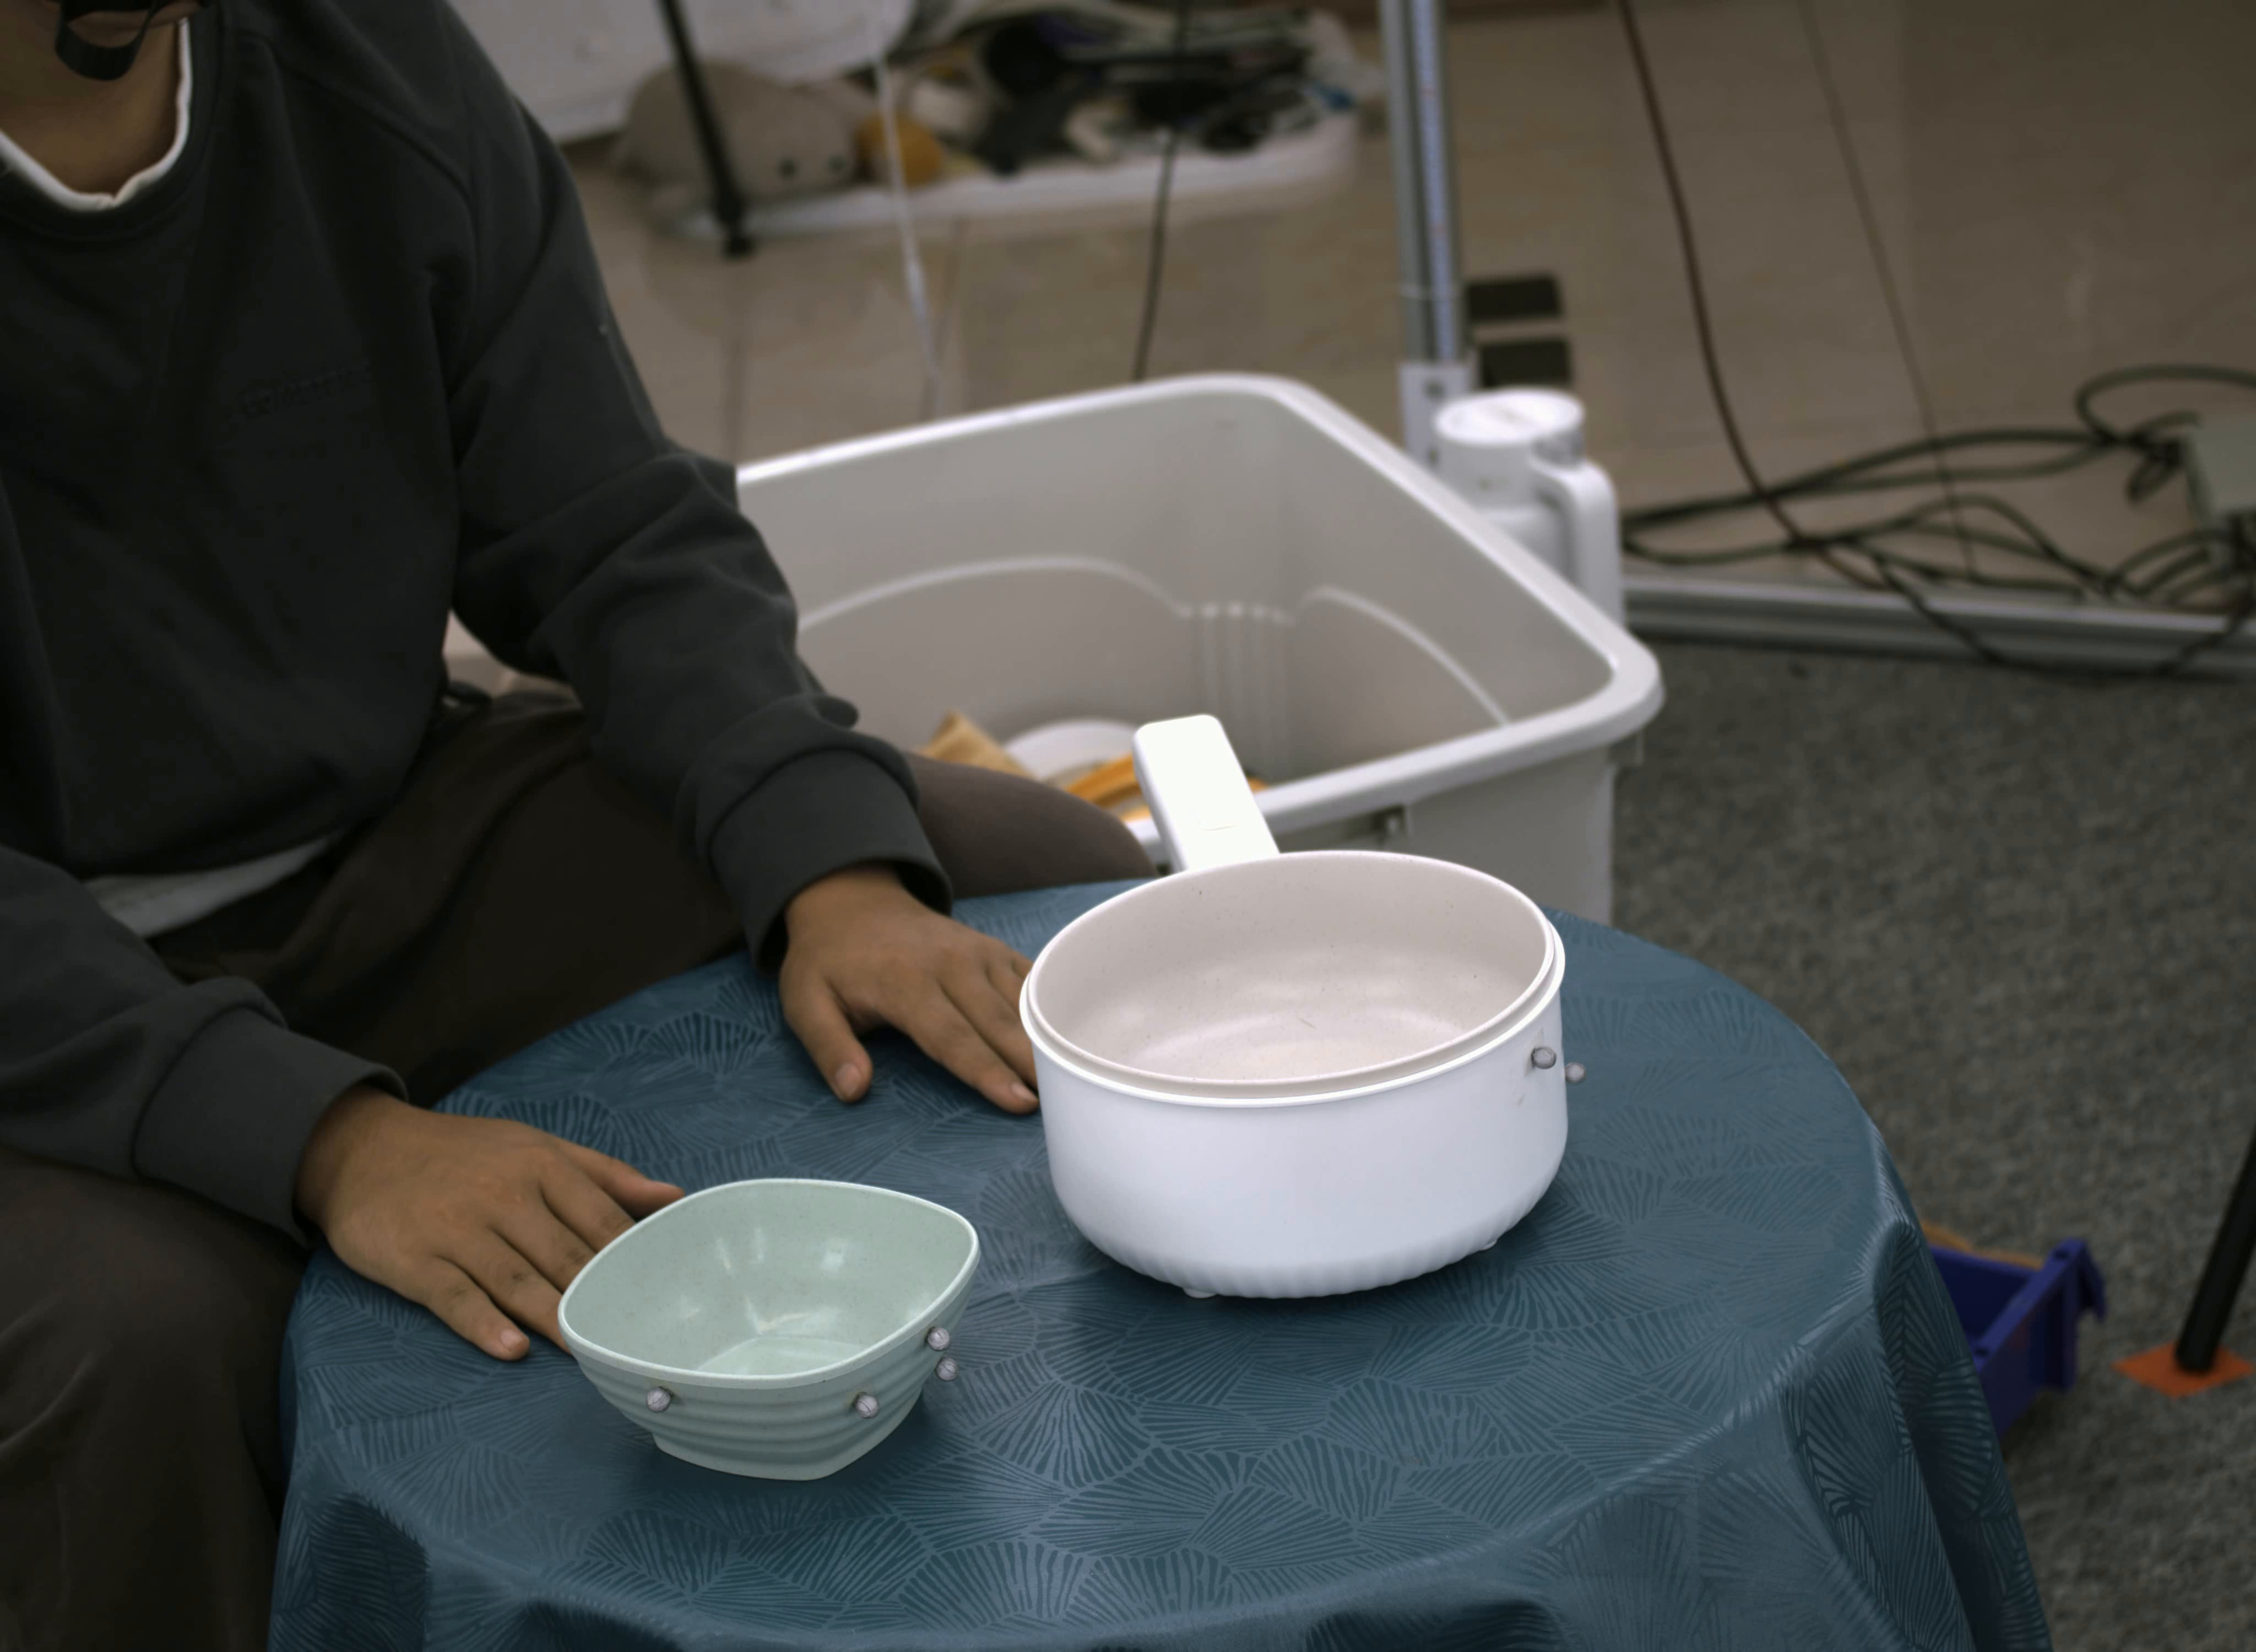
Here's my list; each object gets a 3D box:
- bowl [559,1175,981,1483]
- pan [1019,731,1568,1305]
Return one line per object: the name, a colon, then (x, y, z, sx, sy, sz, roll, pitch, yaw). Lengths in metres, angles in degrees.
bowl: (-0.124, 0.184, 2.013, 0.151, 0.059, 0.149, -4, 26, 2)
pan: (0.052, 0.071, 2.174, 0.201, 0.103, 0.350, -11, 23, -6)
